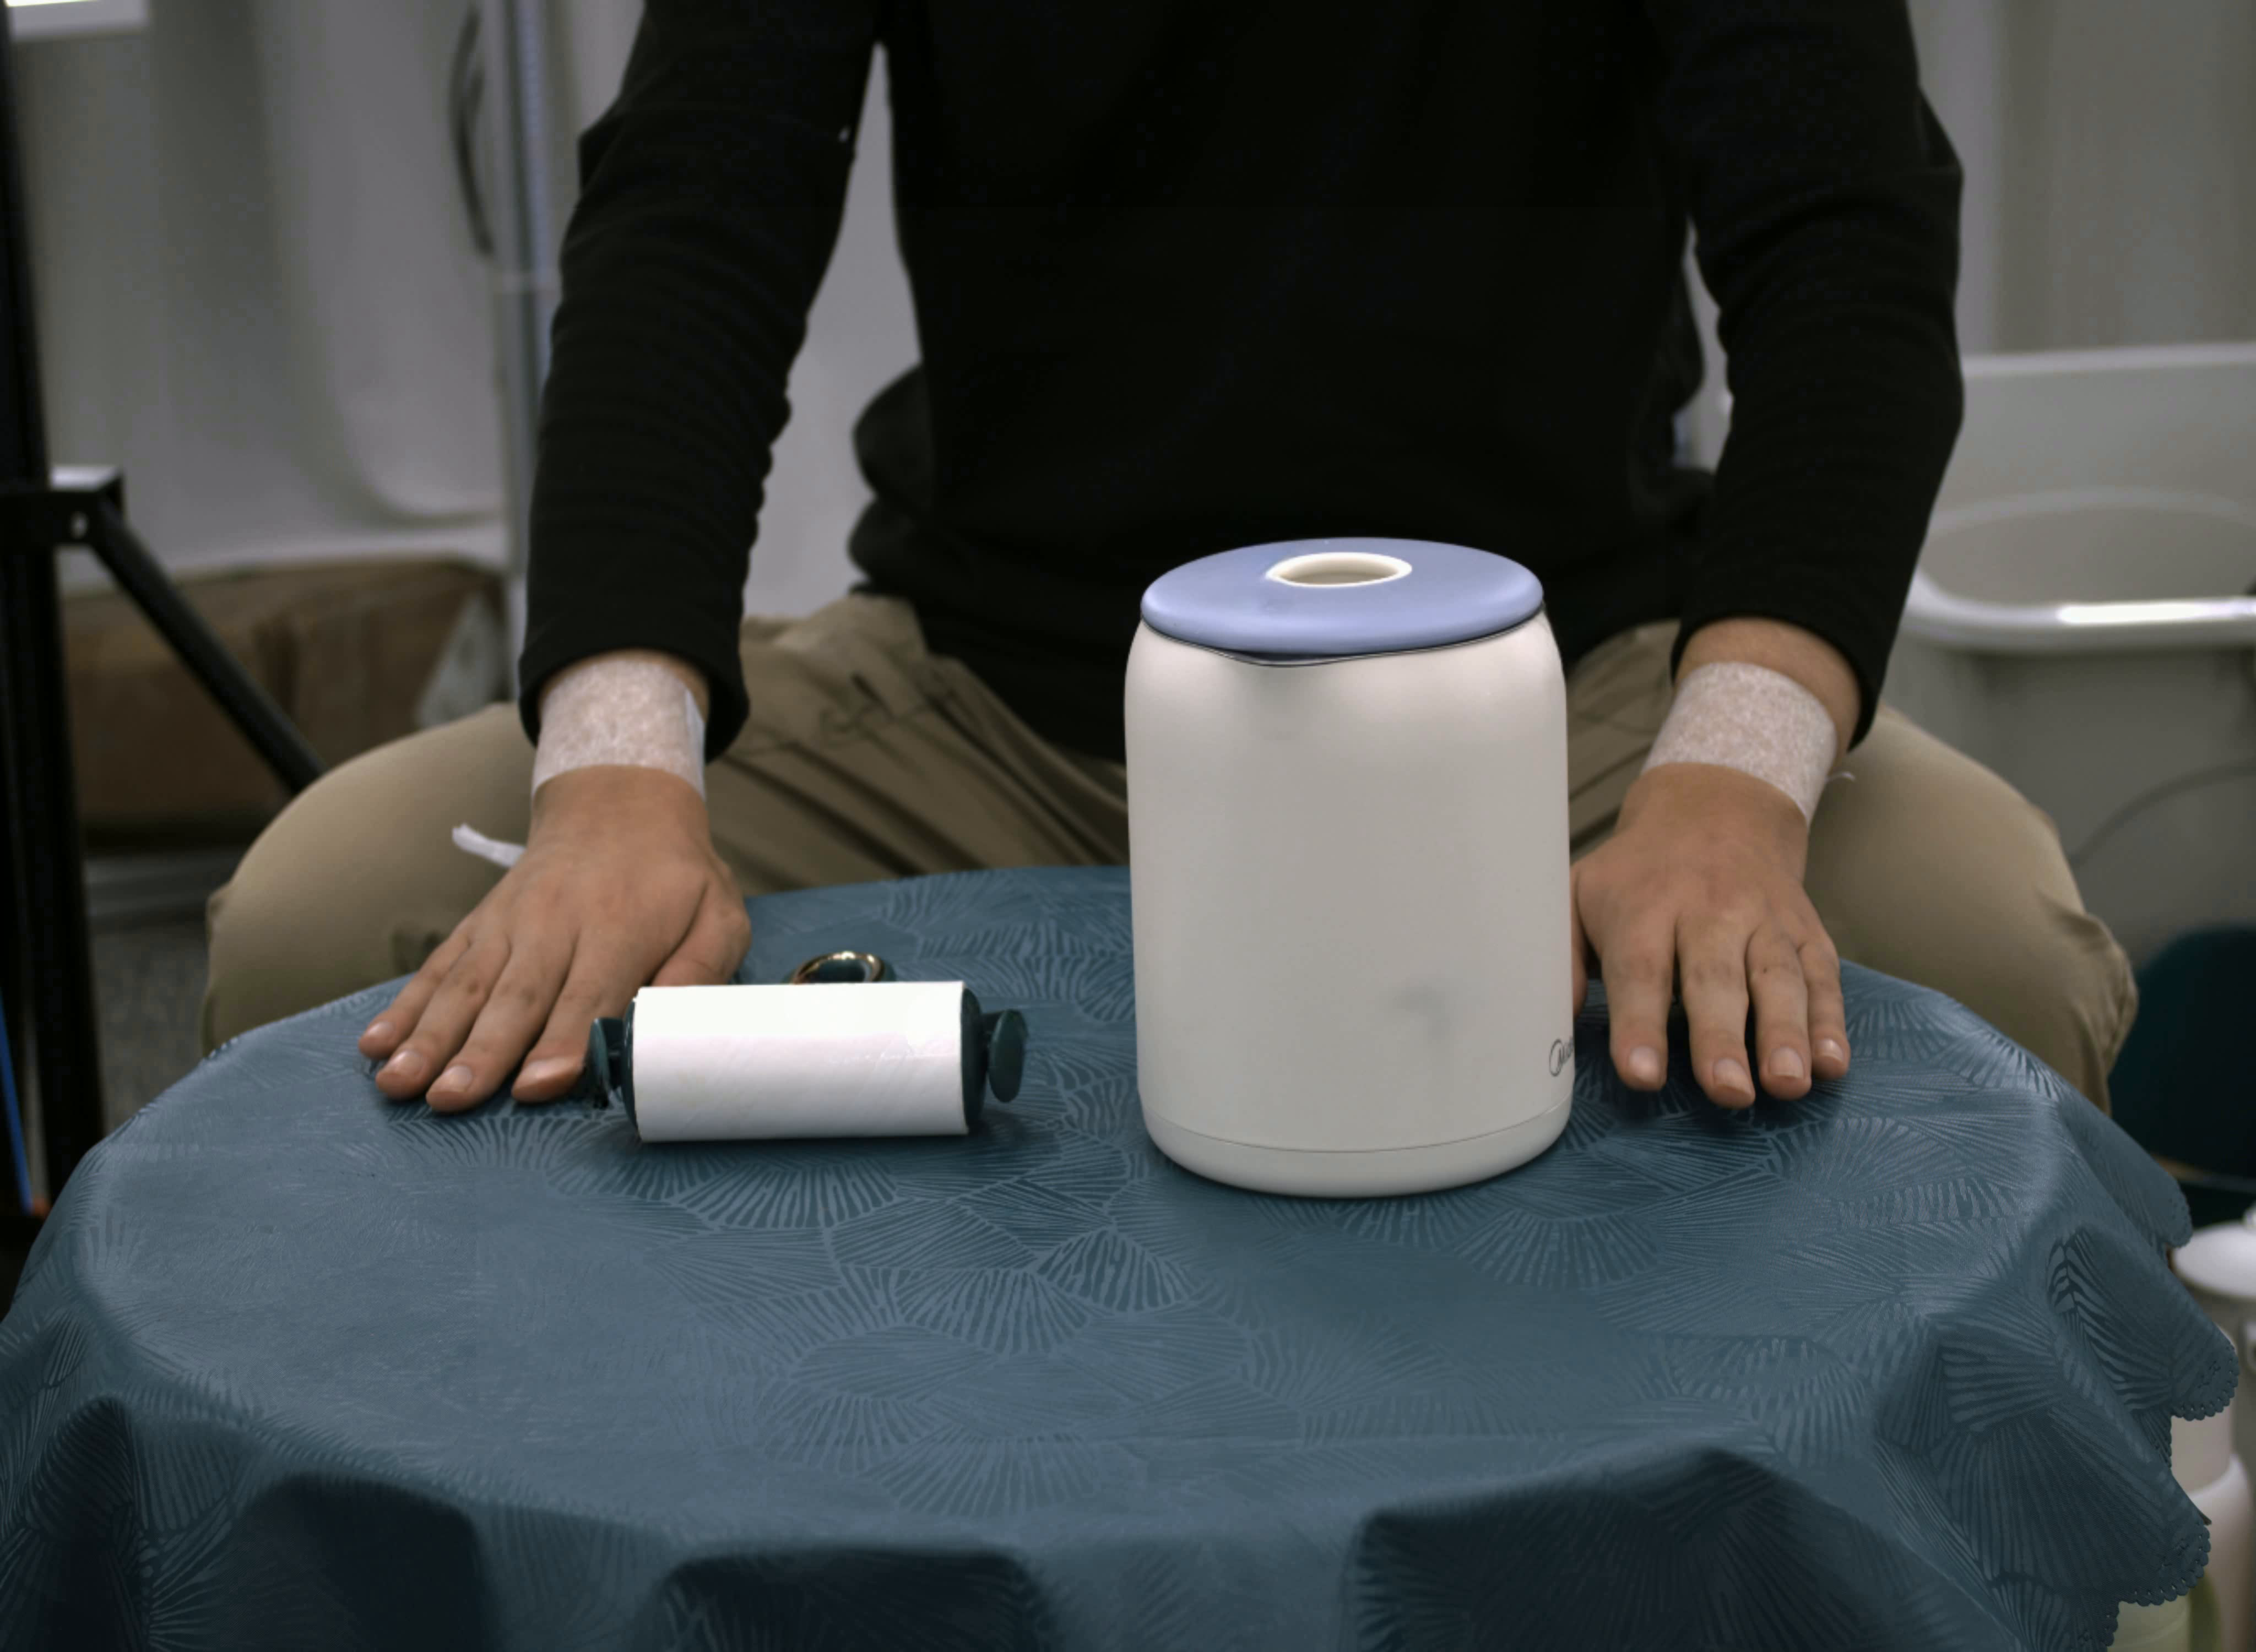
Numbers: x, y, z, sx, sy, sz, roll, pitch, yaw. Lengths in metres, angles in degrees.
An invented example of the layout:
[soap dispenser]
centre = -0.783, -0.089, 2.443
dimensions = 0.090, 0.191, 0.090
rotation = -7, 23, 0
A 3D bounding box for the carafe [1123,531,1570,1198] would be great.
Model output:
[carafe]
centre = 0.072, 0.005, 1.597
dimensions = 0.133, 0.182, 0.189
rotation = 3, 14, 17

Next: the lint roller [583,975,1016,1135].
[lint roller]
centre = -0.097, 0.055, 1.682
dimensions = 0.134, 0.048, 0.180
rotation = -2, 13, 3
